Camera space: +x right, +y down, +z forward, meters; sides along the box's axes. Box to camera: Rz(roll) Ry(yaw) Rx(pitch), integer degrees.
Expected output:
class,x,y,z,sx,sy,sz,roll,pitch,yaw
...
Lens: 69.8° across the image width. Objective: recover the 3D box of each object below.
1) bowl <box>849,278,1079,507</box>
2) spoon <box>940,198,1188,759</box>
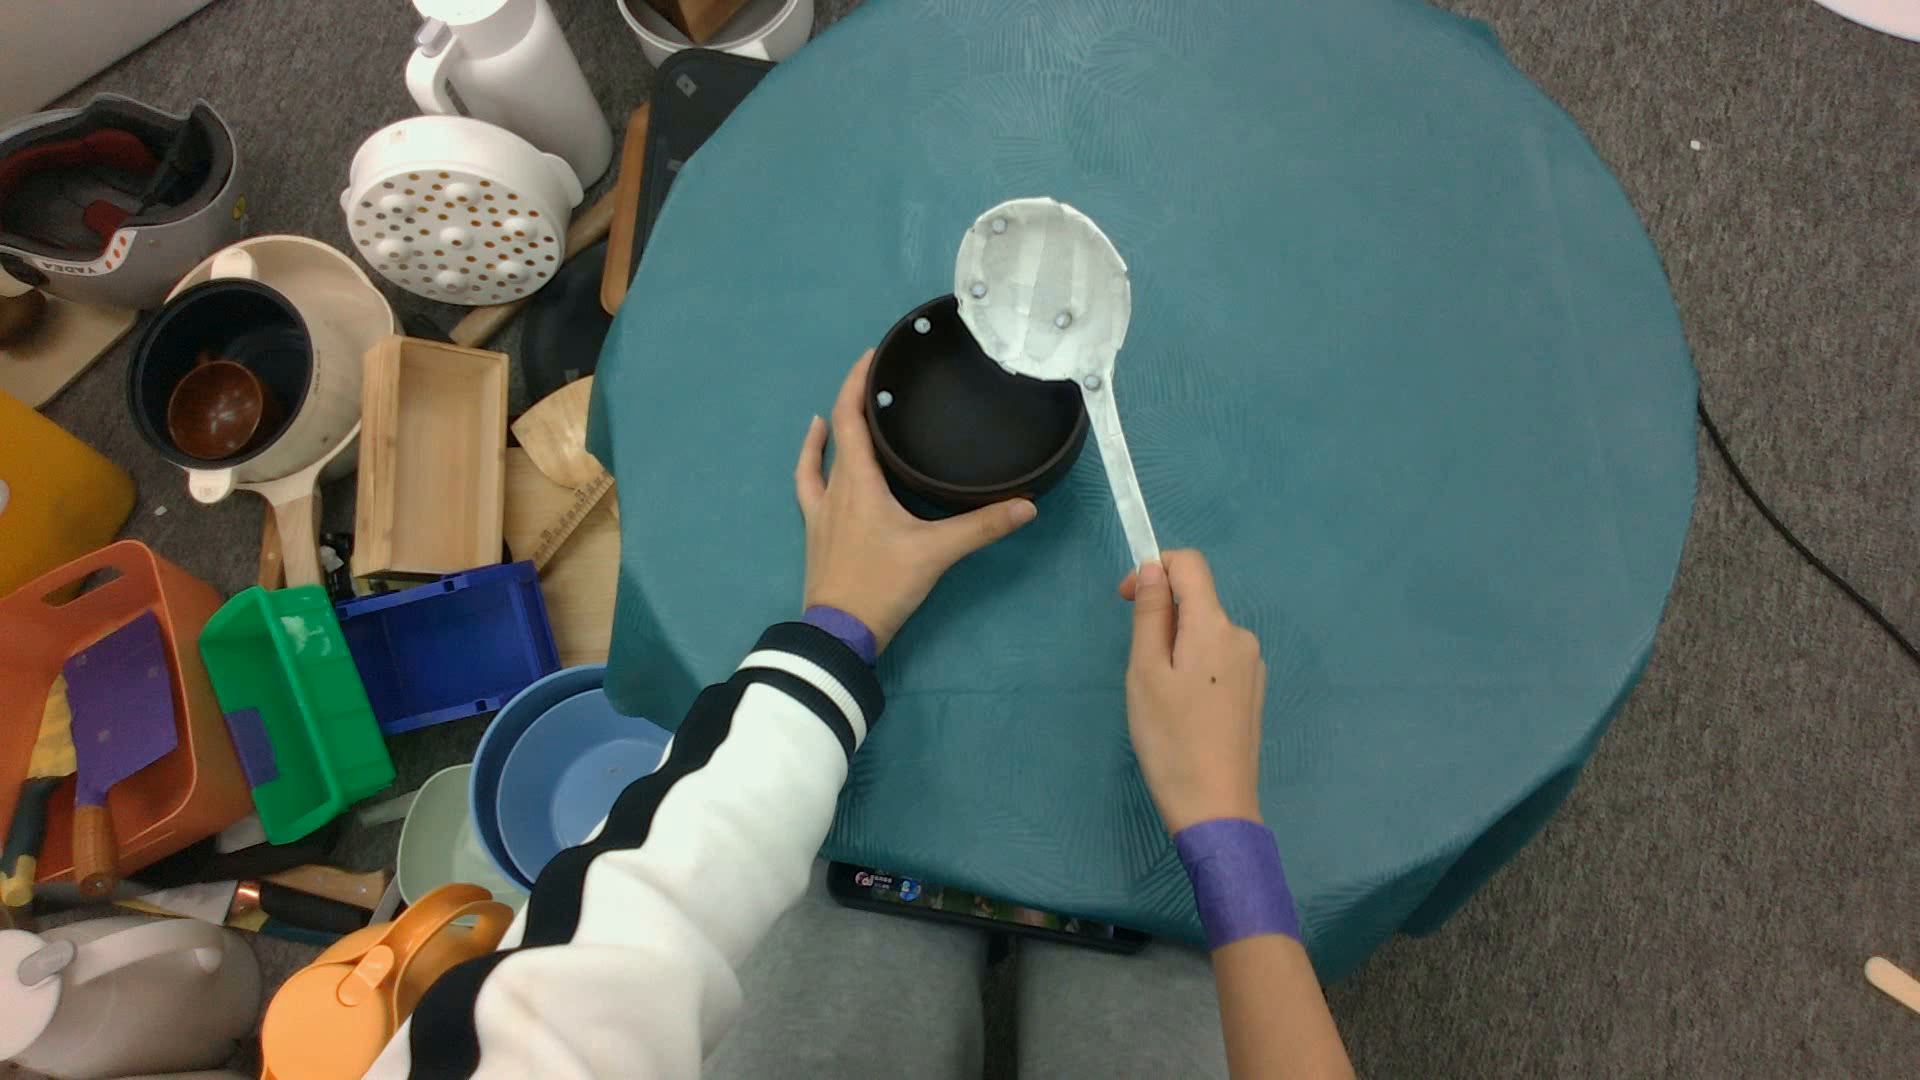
class,x,y,z,sx,sy,sz,roll,pitch,yaw
bowl,0.003,-0.071,0.725,0.118,0.069,0.118,-1,71,2
spoon,0.052,-0.028,0.662,0.100,0.059,0.278,-22,76,41
